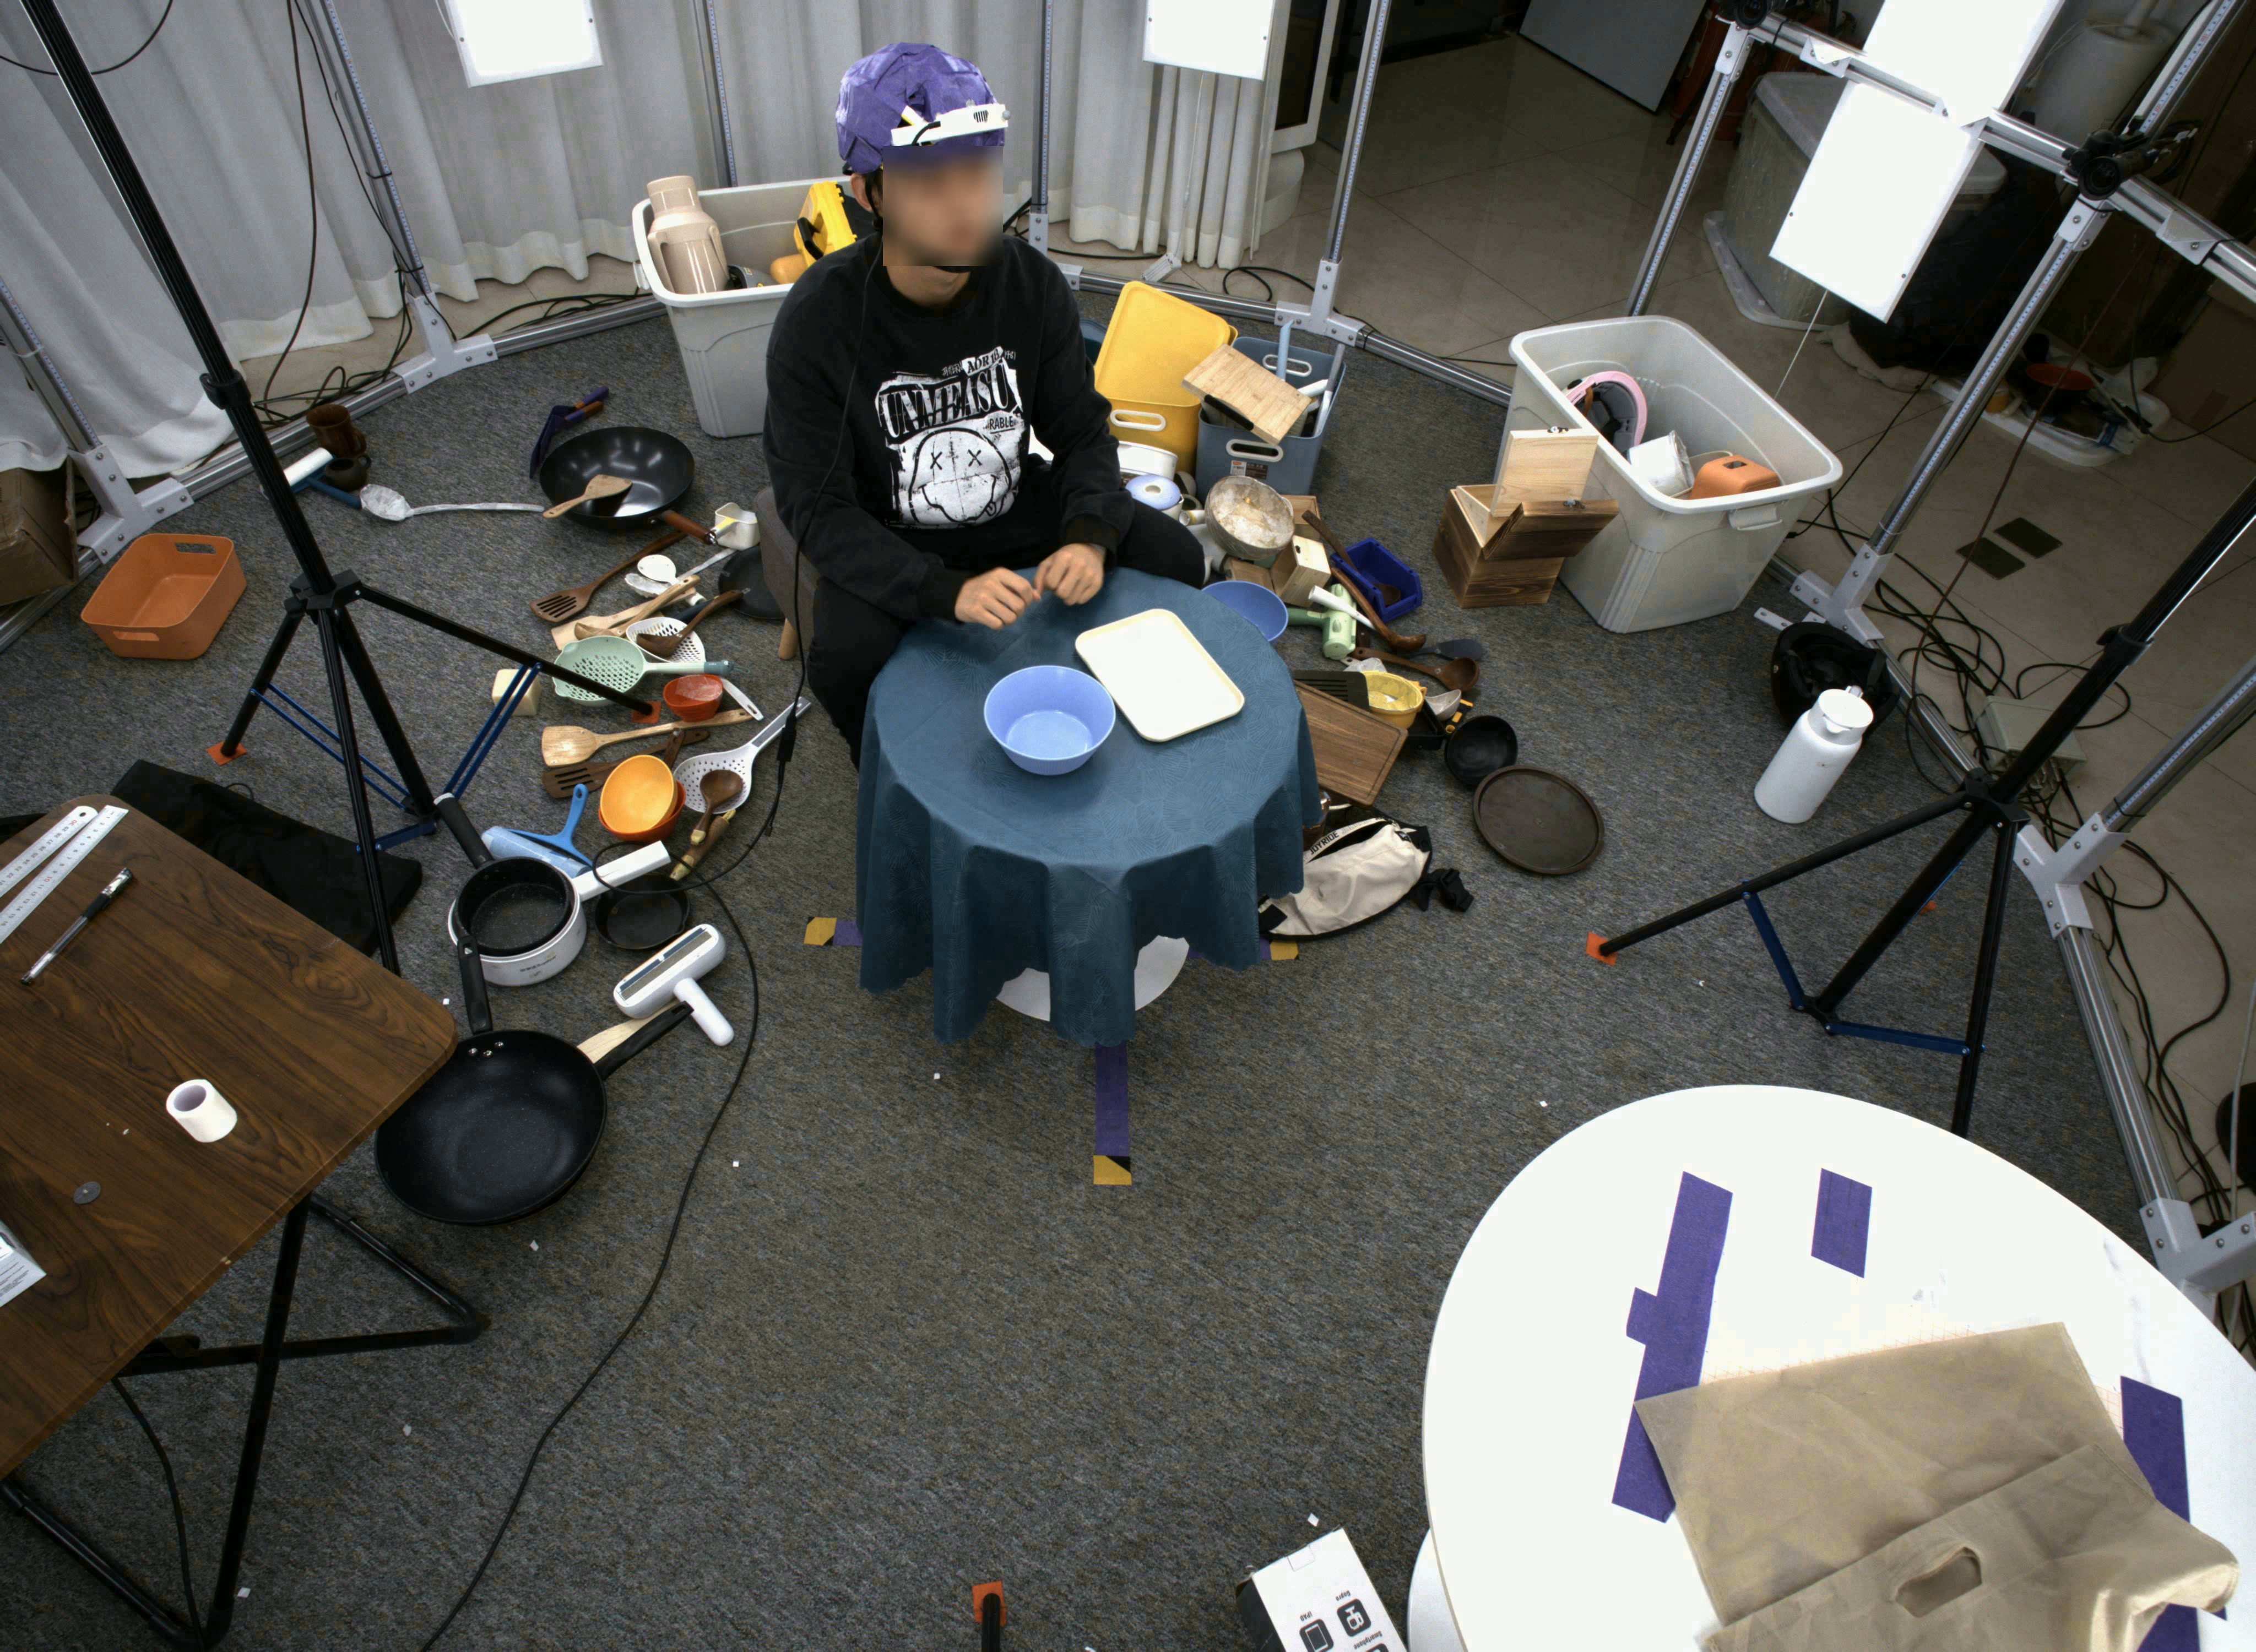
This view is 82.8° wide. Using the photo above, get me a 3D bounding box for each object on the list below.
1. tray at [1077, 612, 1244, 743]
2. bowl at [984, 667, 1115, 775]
[{"bbox_3d":[0.045,-0.218,1.865,0.172,0.017,0.245,-20,53,-21],"label":"tray"},{"bbox_3d":[-0.106,-0.133,1.747,0.176,0.068,0.180,2,49,-3],"label":"bowl"}]
